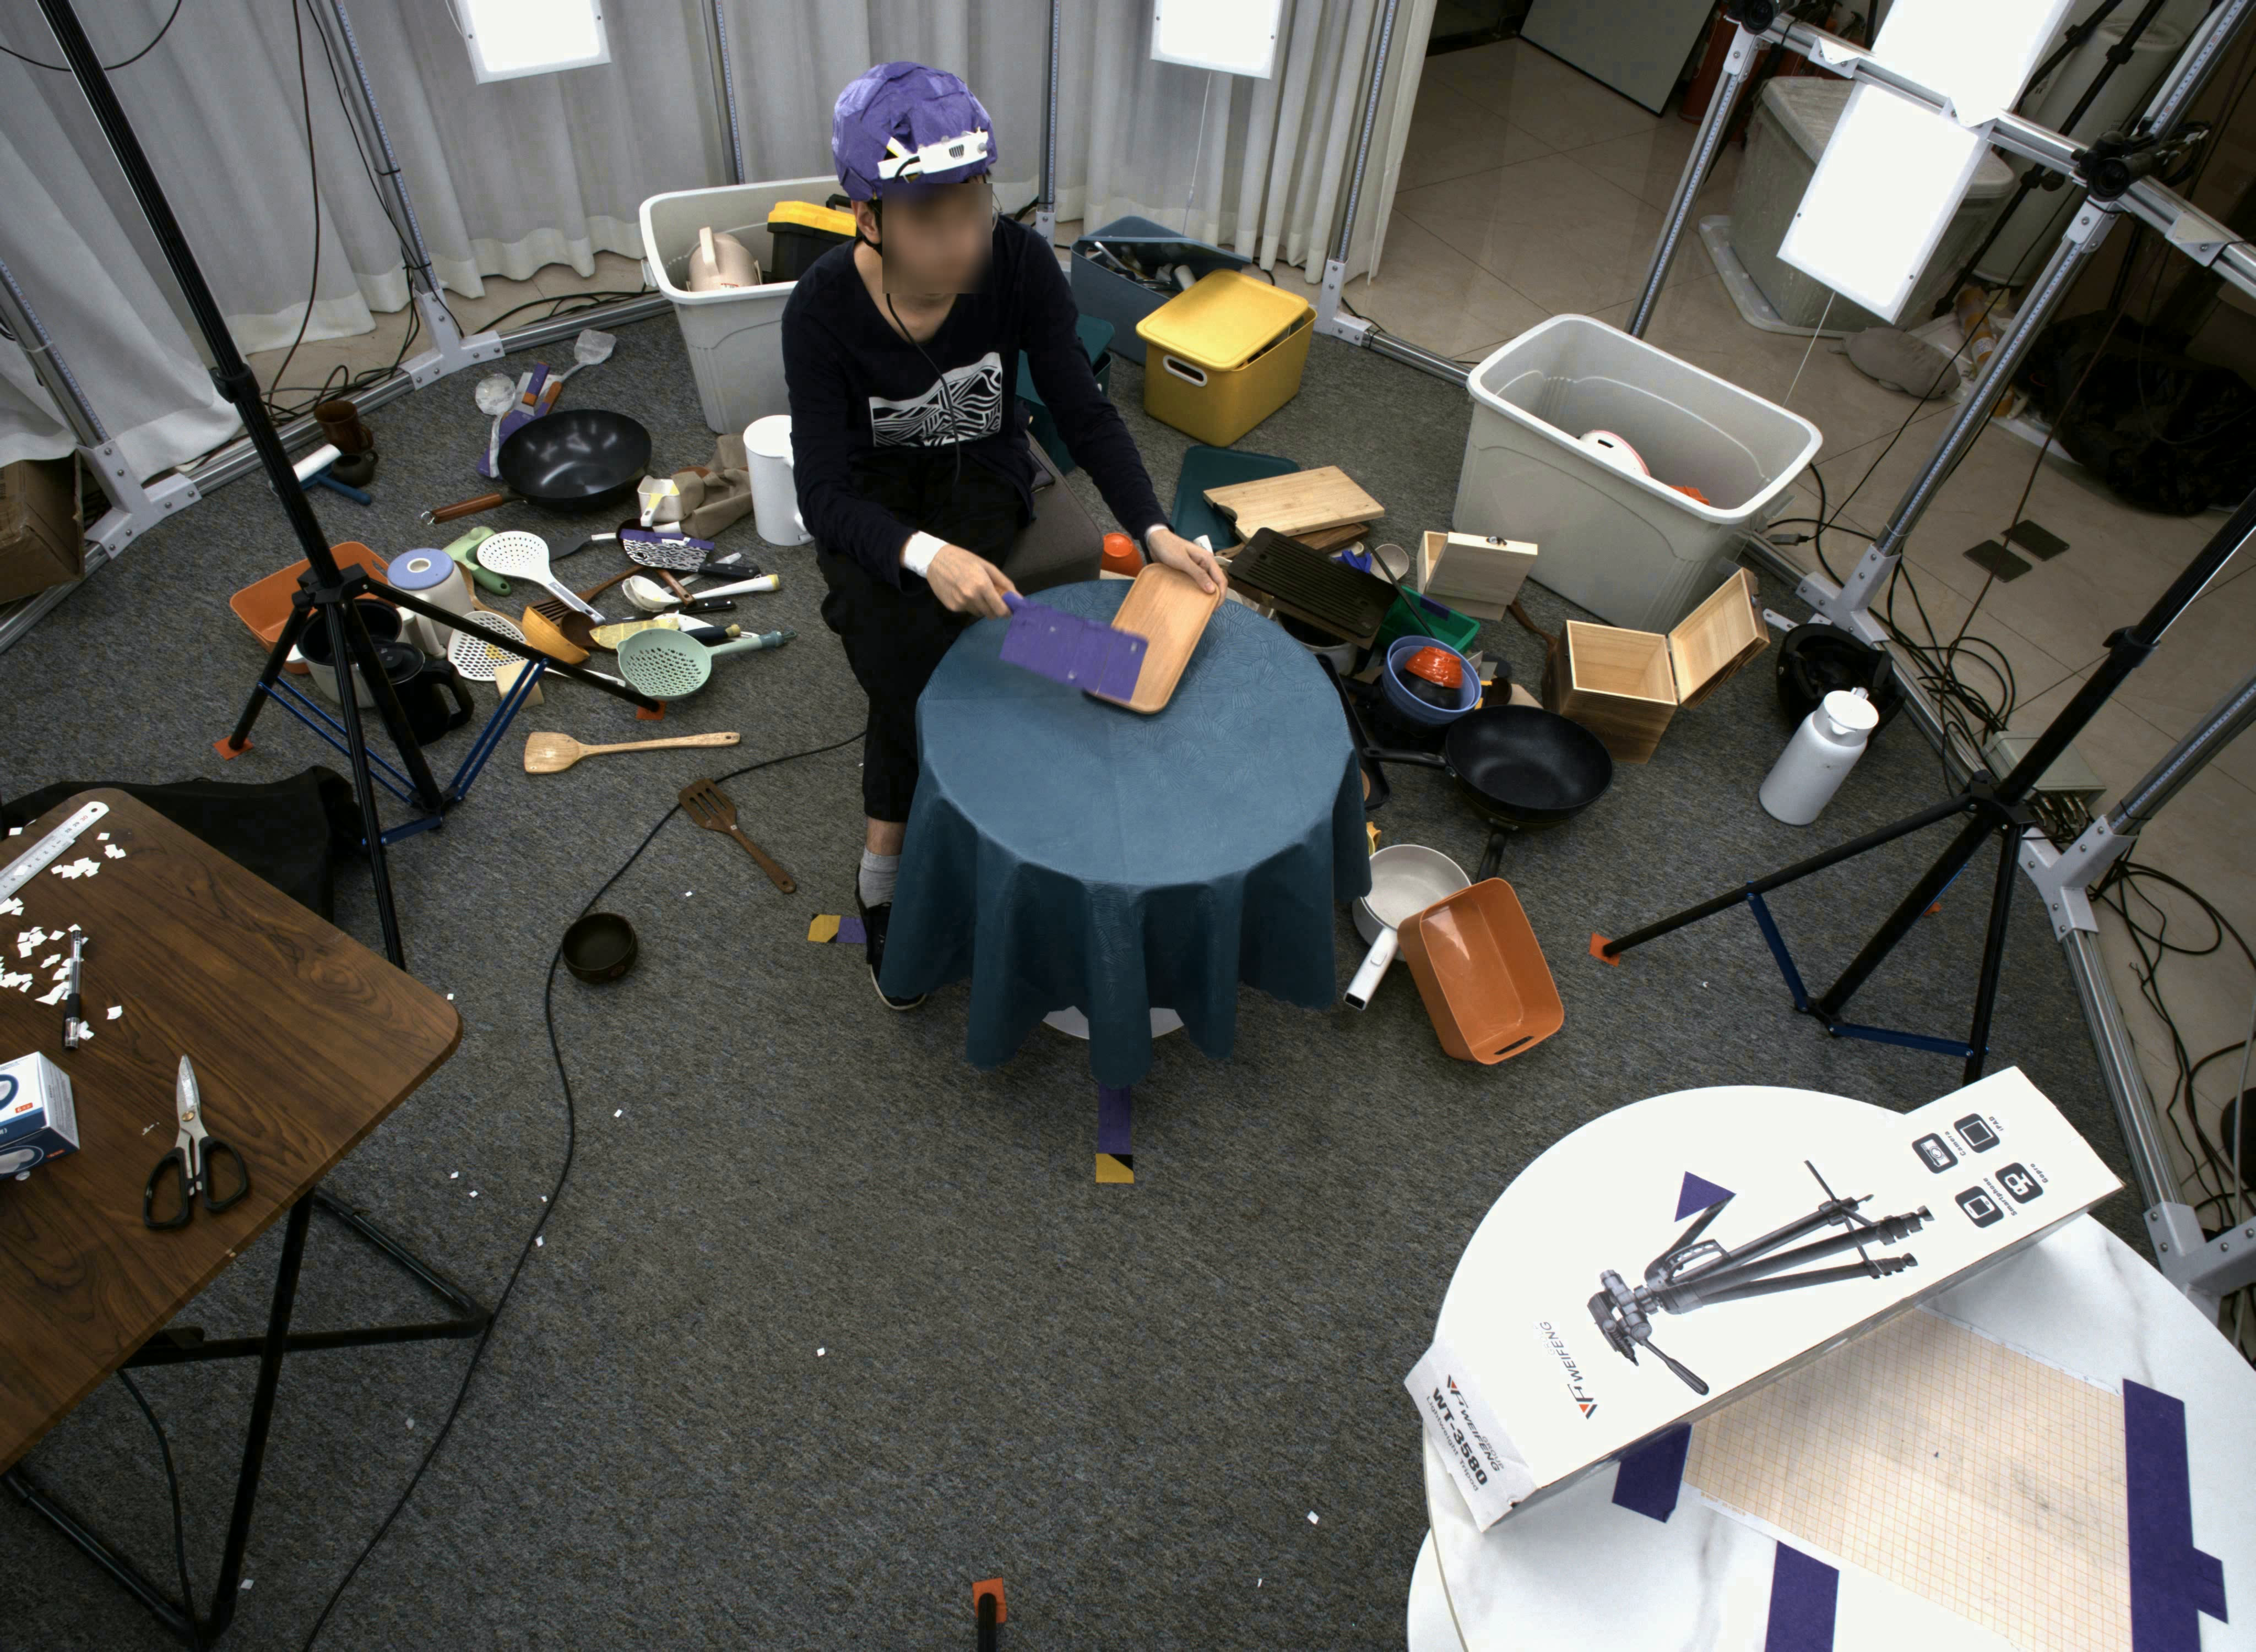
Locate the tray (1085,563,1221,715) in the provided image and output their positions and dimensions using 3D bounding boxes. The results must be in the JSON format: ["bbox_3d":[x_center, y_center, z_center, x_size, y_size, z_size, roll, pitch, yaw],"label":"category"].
[{"bbox_3d":[0.036,-0.273,1.862,0.131,0.022,0.254,21,65,16],"label":"tray"}]

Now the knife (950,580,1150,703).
[{"bbox_3d":[-0.122,-0.253,1.761,0.318,0.032,0.104,23,93,24],"label":"knife"}]
